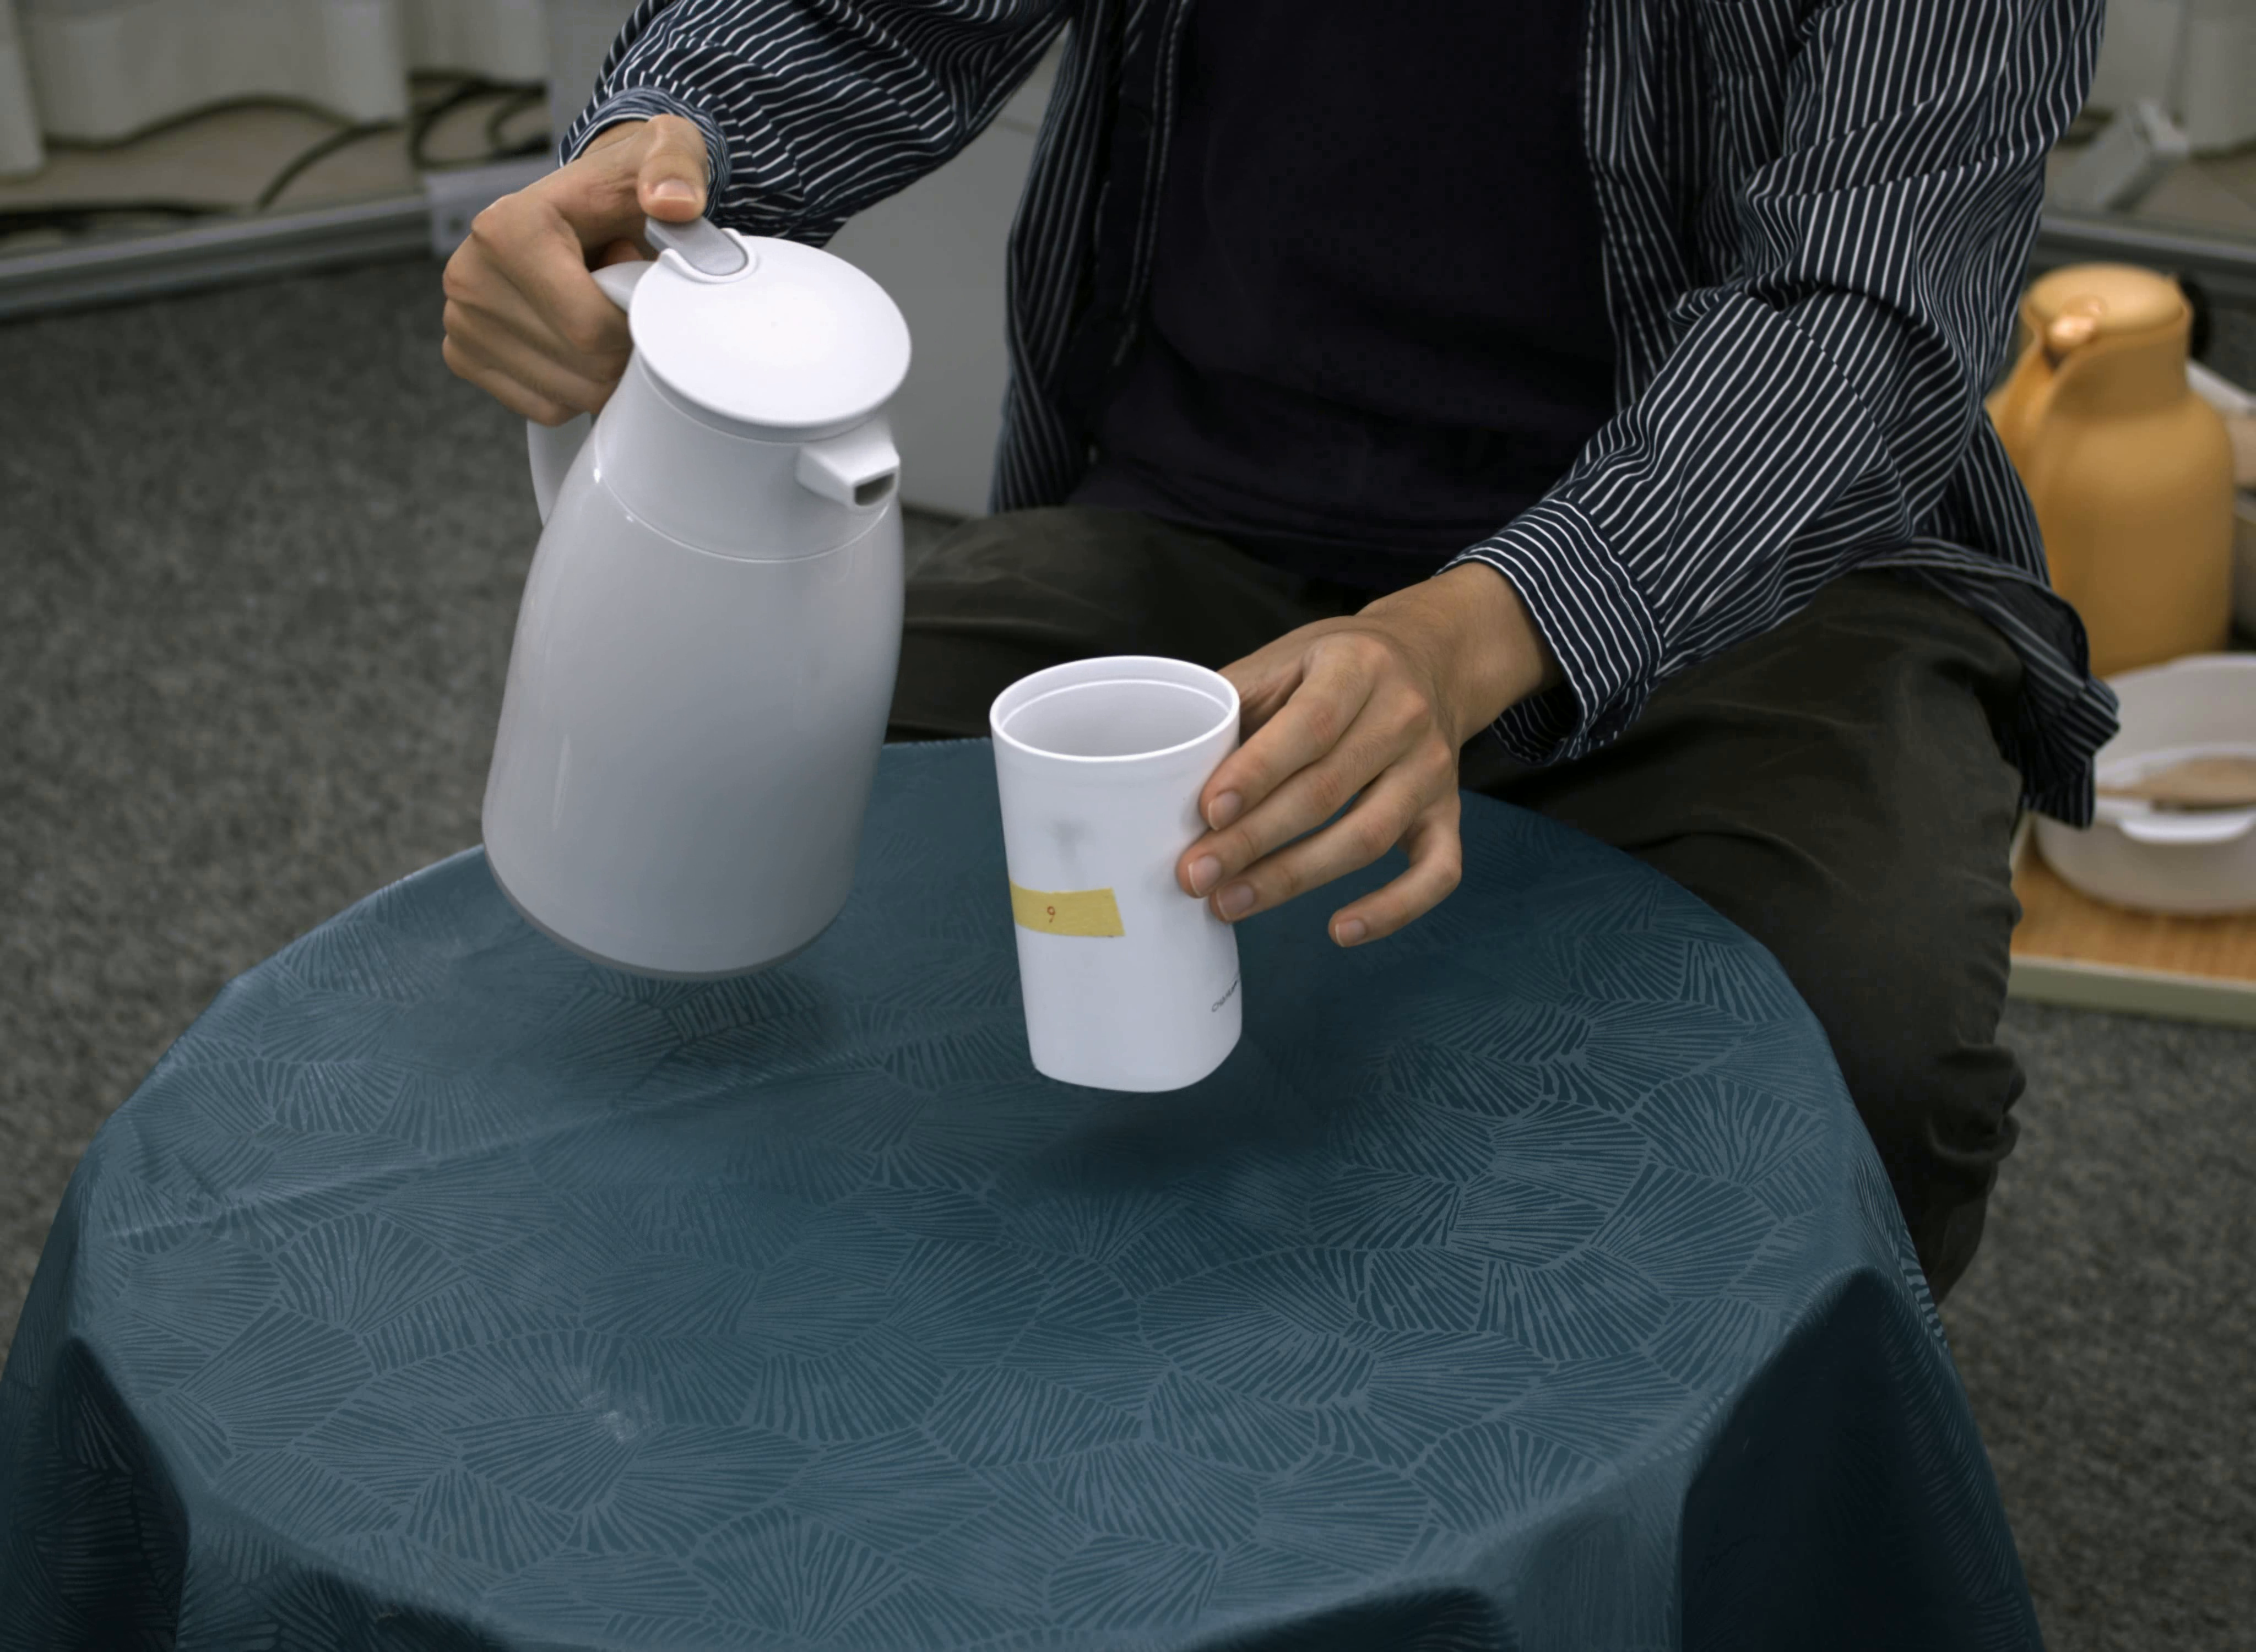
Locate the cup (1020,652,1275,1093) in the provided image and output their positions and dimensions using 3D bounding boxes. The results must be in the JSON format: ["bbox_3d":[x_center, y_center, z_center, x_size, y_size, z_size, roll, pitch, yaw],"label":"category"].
[{"bbox_3d":[0.010,0.017,1.828,0.081,0.124,0.083,-3,24,2],"label":"cup"}]

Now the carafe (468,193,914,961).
[{"bbox_3d":[-0.152,-0.095,1.879,0.134,0.244,0.168,-30,61,-36],"label":"carafe"}]
